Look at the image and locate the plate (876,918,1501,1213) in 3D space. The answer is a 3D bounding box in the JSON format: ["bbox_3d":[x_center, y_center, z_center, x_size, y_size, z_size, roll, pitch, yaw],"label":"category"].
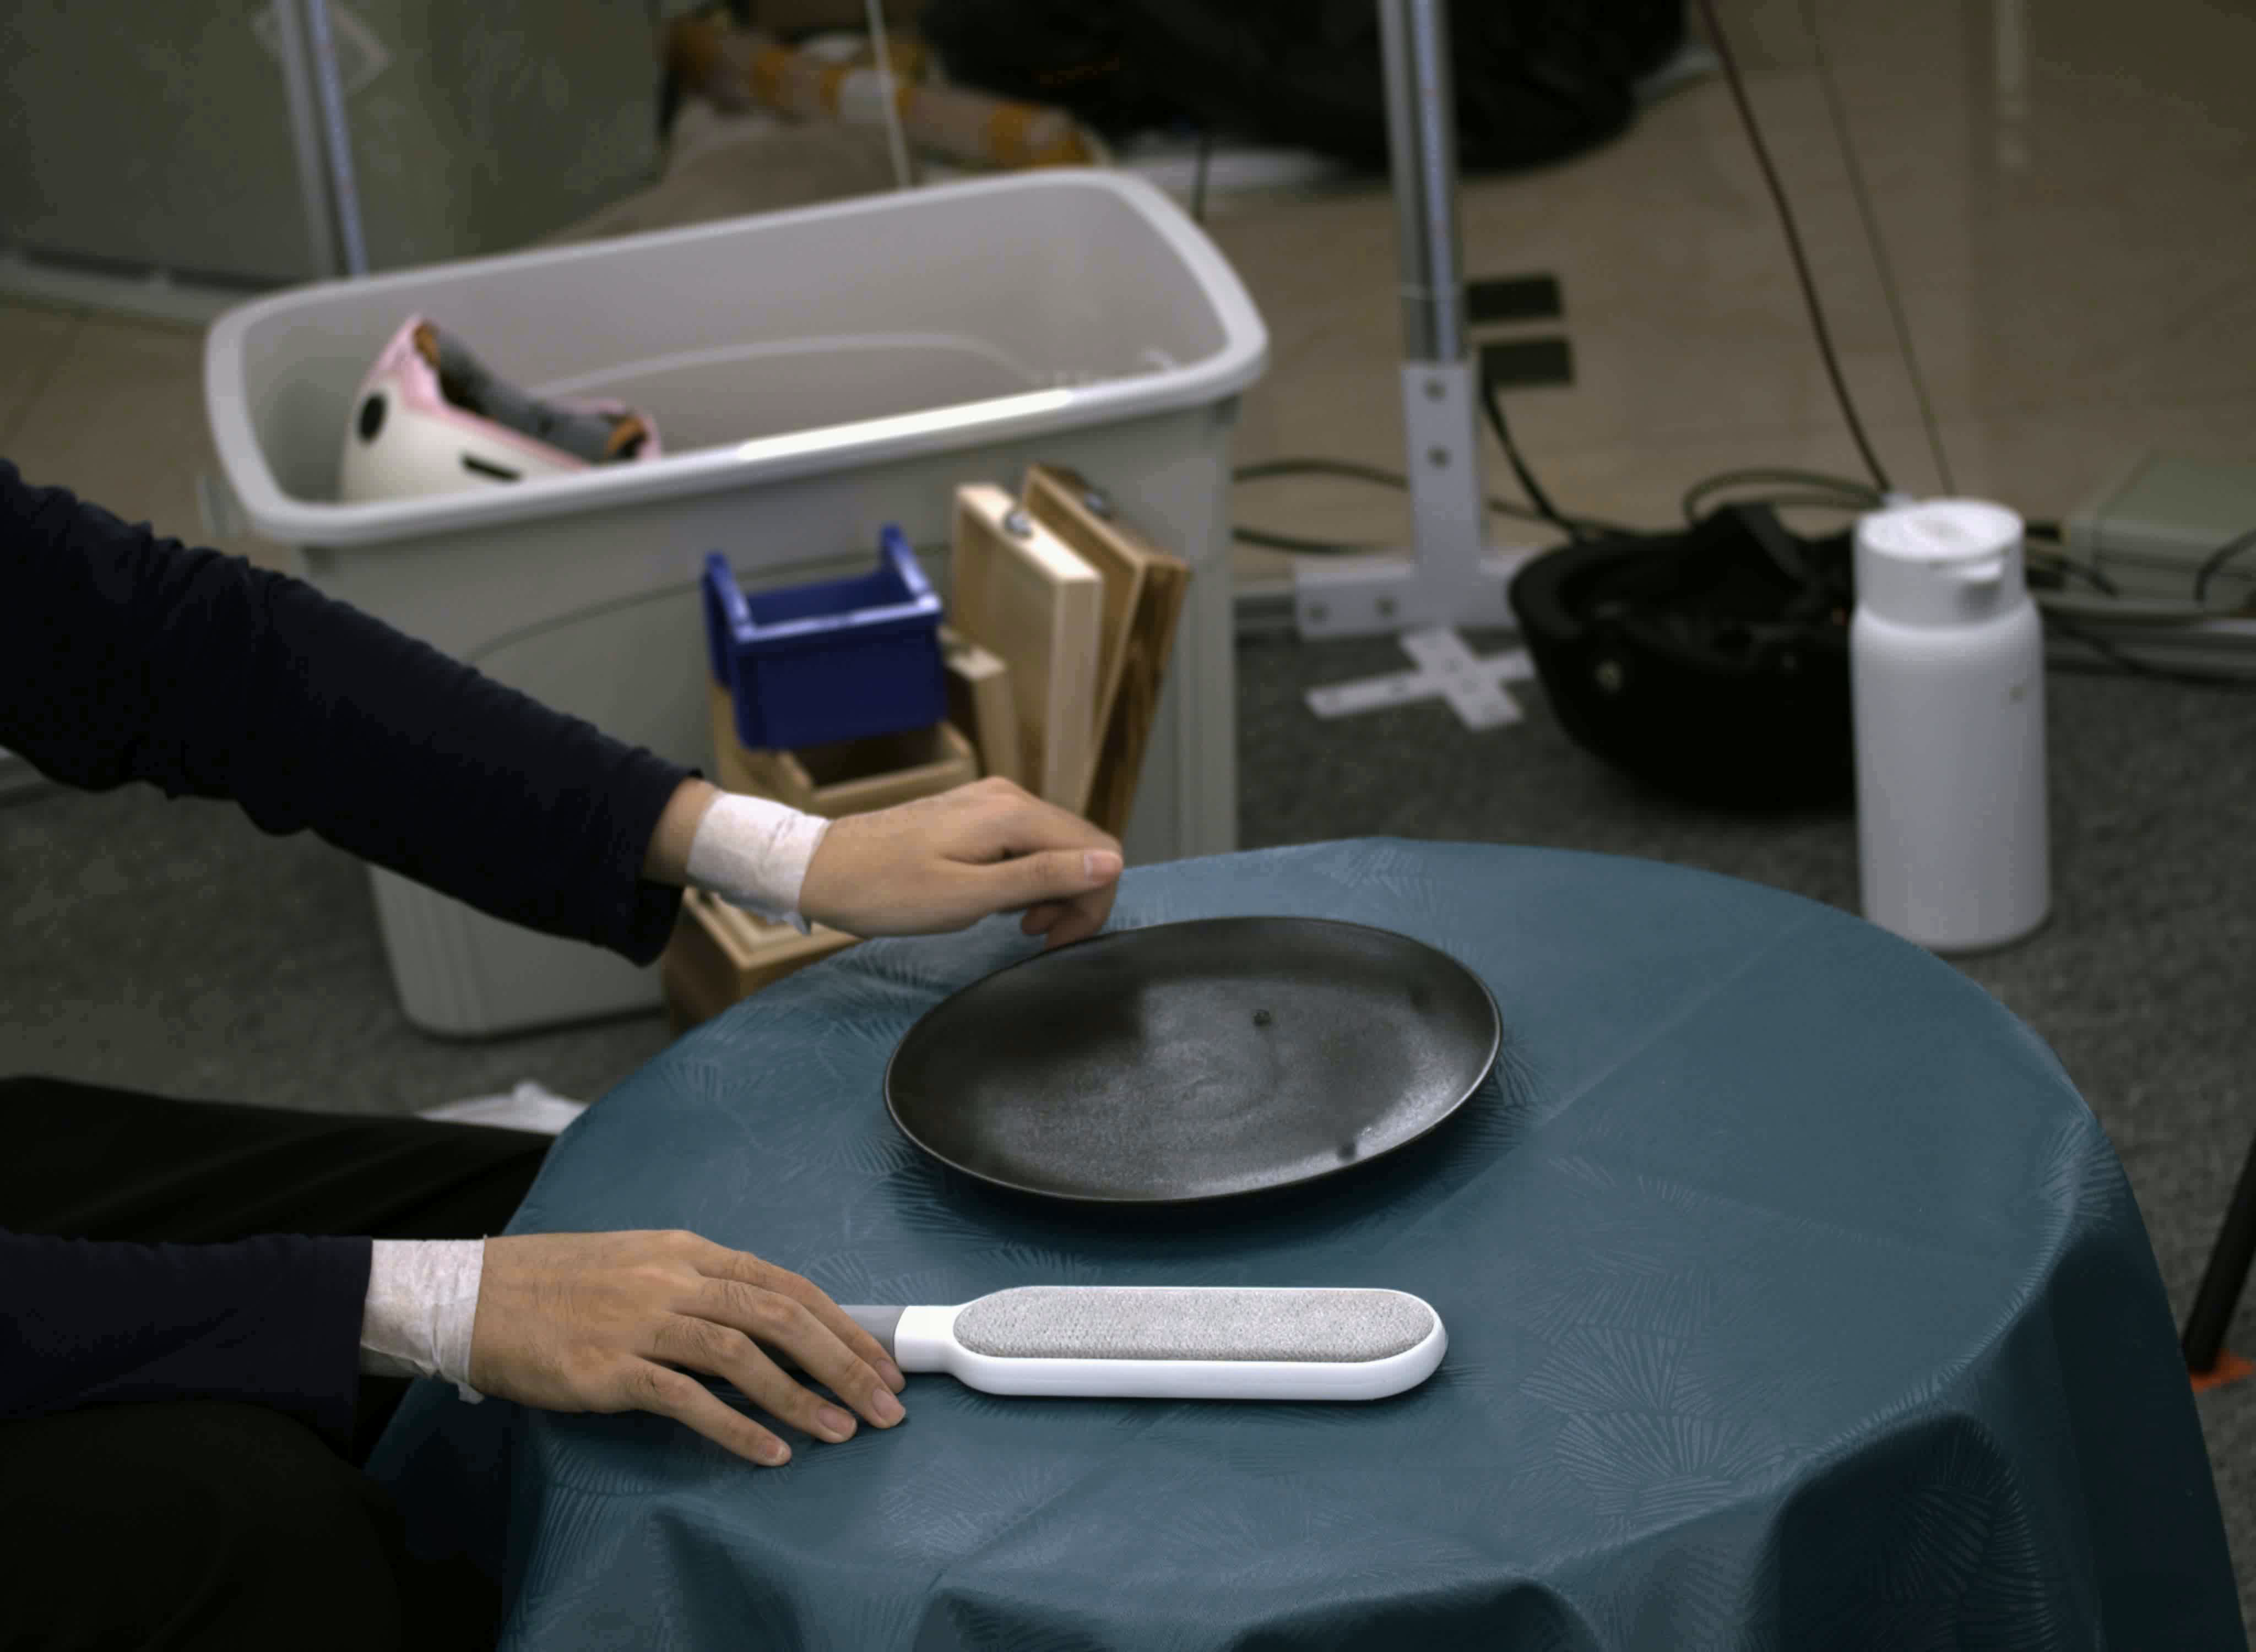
[{"bbox_3d":[0.024,0.098,2.206,0.244,0.024,0.241,-5,25,3],"label":"plate"}]

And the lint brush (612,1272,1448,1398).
[{"bbox_3d":[-0.038,0.181,2.038,0.308,0.021,0.059,0,31,14],"label":"lint brush"}]
